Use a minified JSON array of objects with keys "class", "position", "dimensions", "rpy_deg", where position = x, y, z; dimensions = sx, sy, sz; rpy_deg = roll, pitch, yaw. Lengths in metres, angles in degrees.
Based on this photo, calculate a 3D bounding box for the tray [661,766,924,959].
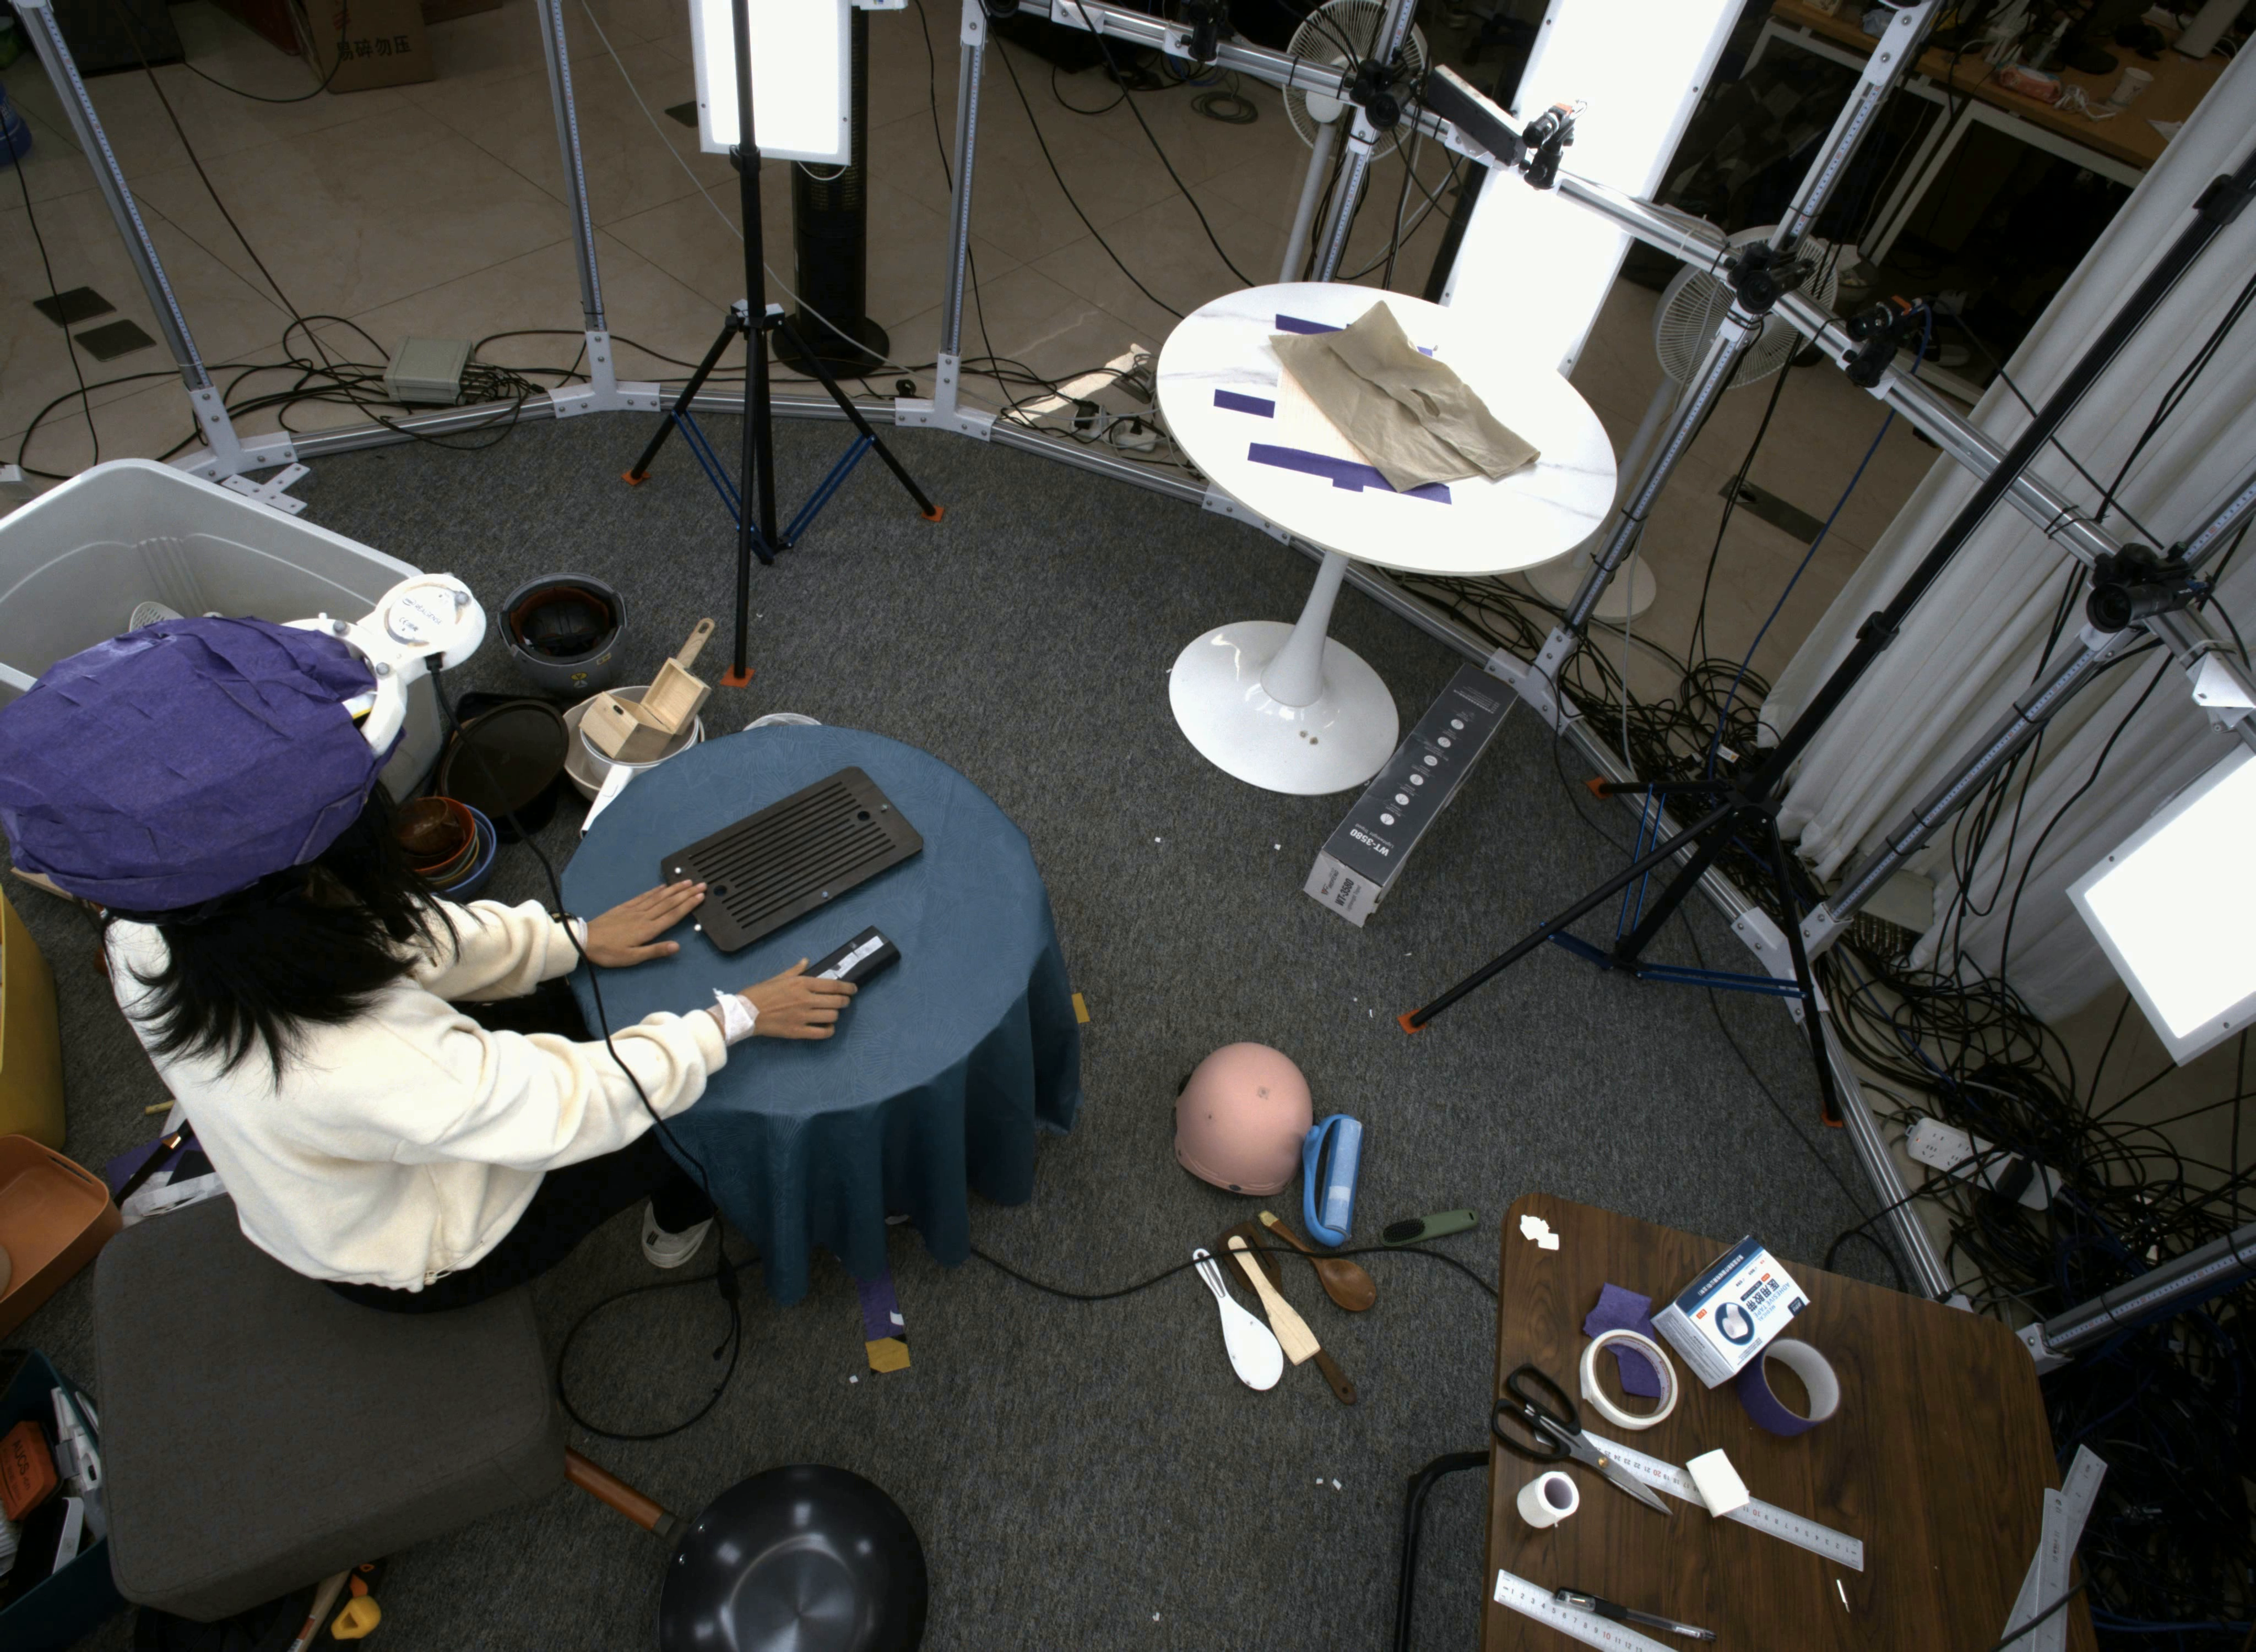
[{"class":"tray","position":[-0.430,0.040,1.675],"dimensions":[0.307,0.019,0.166],"rpy_deg":[-32,67,-32]}]

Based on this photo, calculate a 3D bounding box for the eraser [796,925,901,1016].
[{"class":"eraser","position":[-0.342,0.173,1.594],"dimensions":[0.052,0.031,0.126],"rpy_deg":[39,55,19]}]
